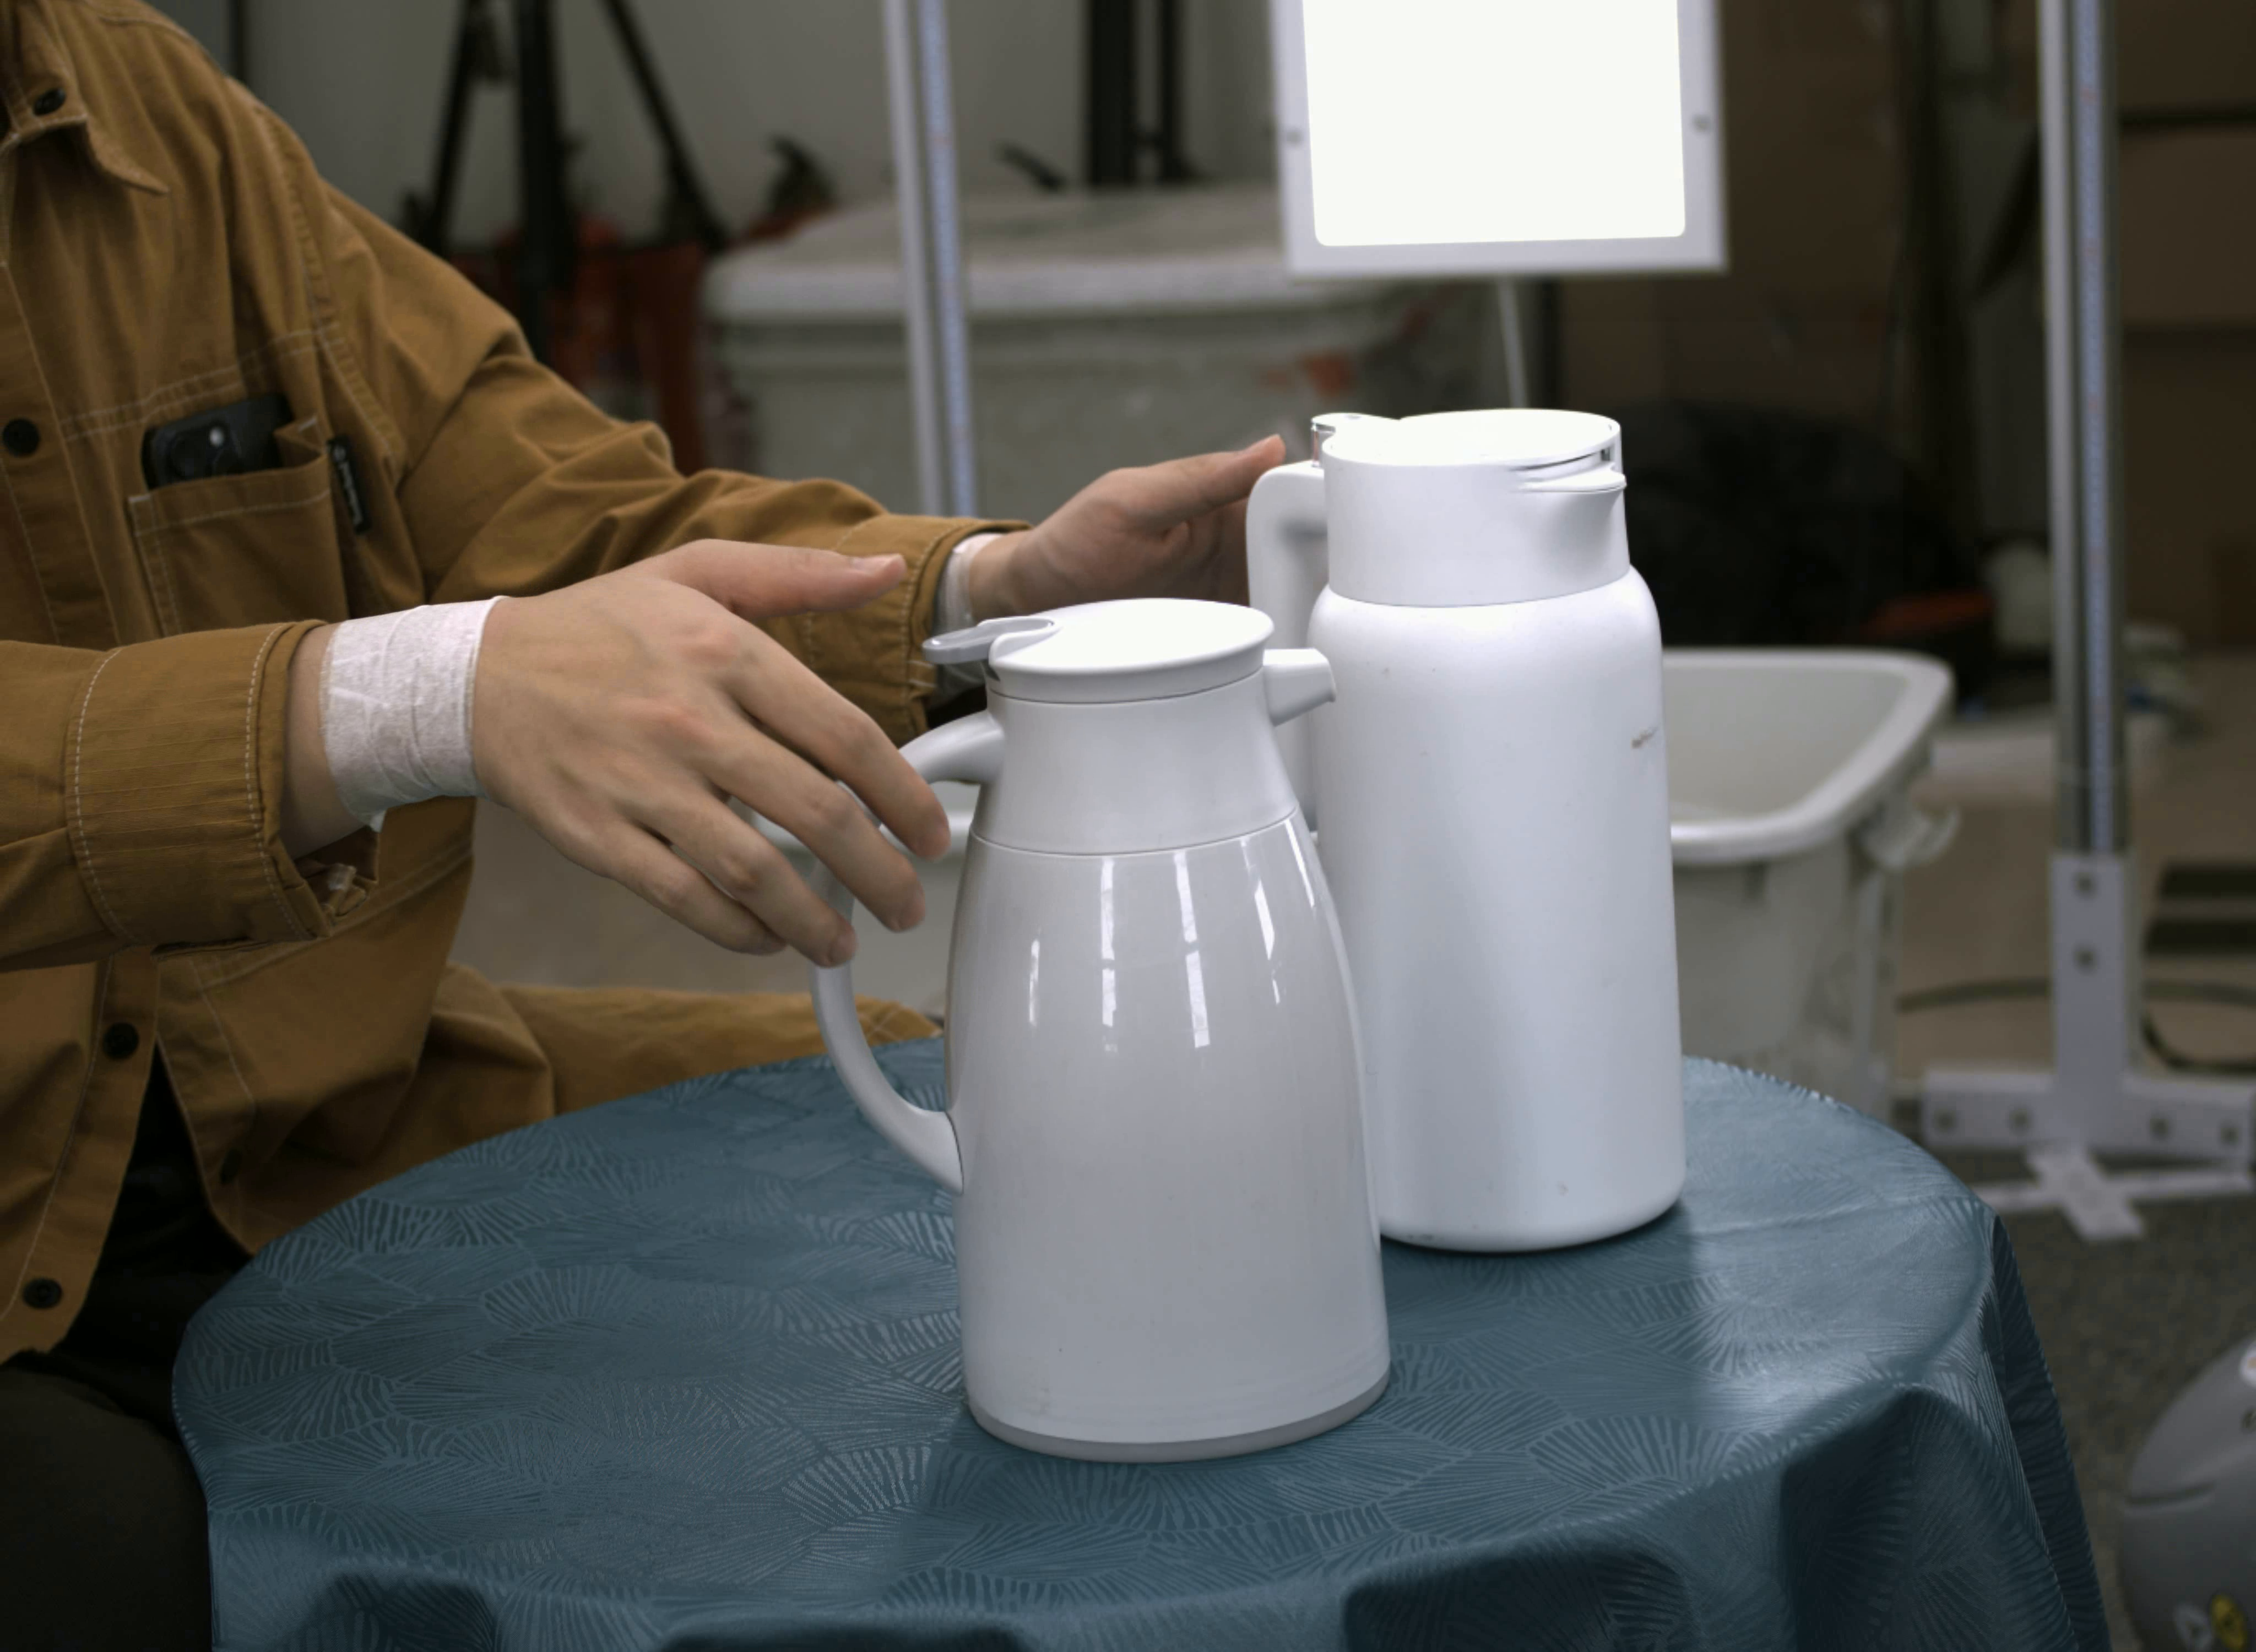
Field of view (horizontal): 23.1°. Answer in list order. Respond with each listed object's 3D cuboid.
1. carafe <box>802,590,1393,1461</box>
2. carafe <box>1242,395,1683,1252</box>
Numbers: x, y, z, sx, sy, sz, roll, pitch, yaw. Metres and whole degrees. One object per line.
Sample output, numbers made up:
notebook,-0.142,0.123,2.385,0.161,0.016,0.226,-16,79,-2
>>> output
carafe,-0.012,0.056,1.666,0.166,0.249,0.133,-8,13,-8
carafe,0.108,-0.003,1.826,0.121,0.270,0.176,-17,18,-36
